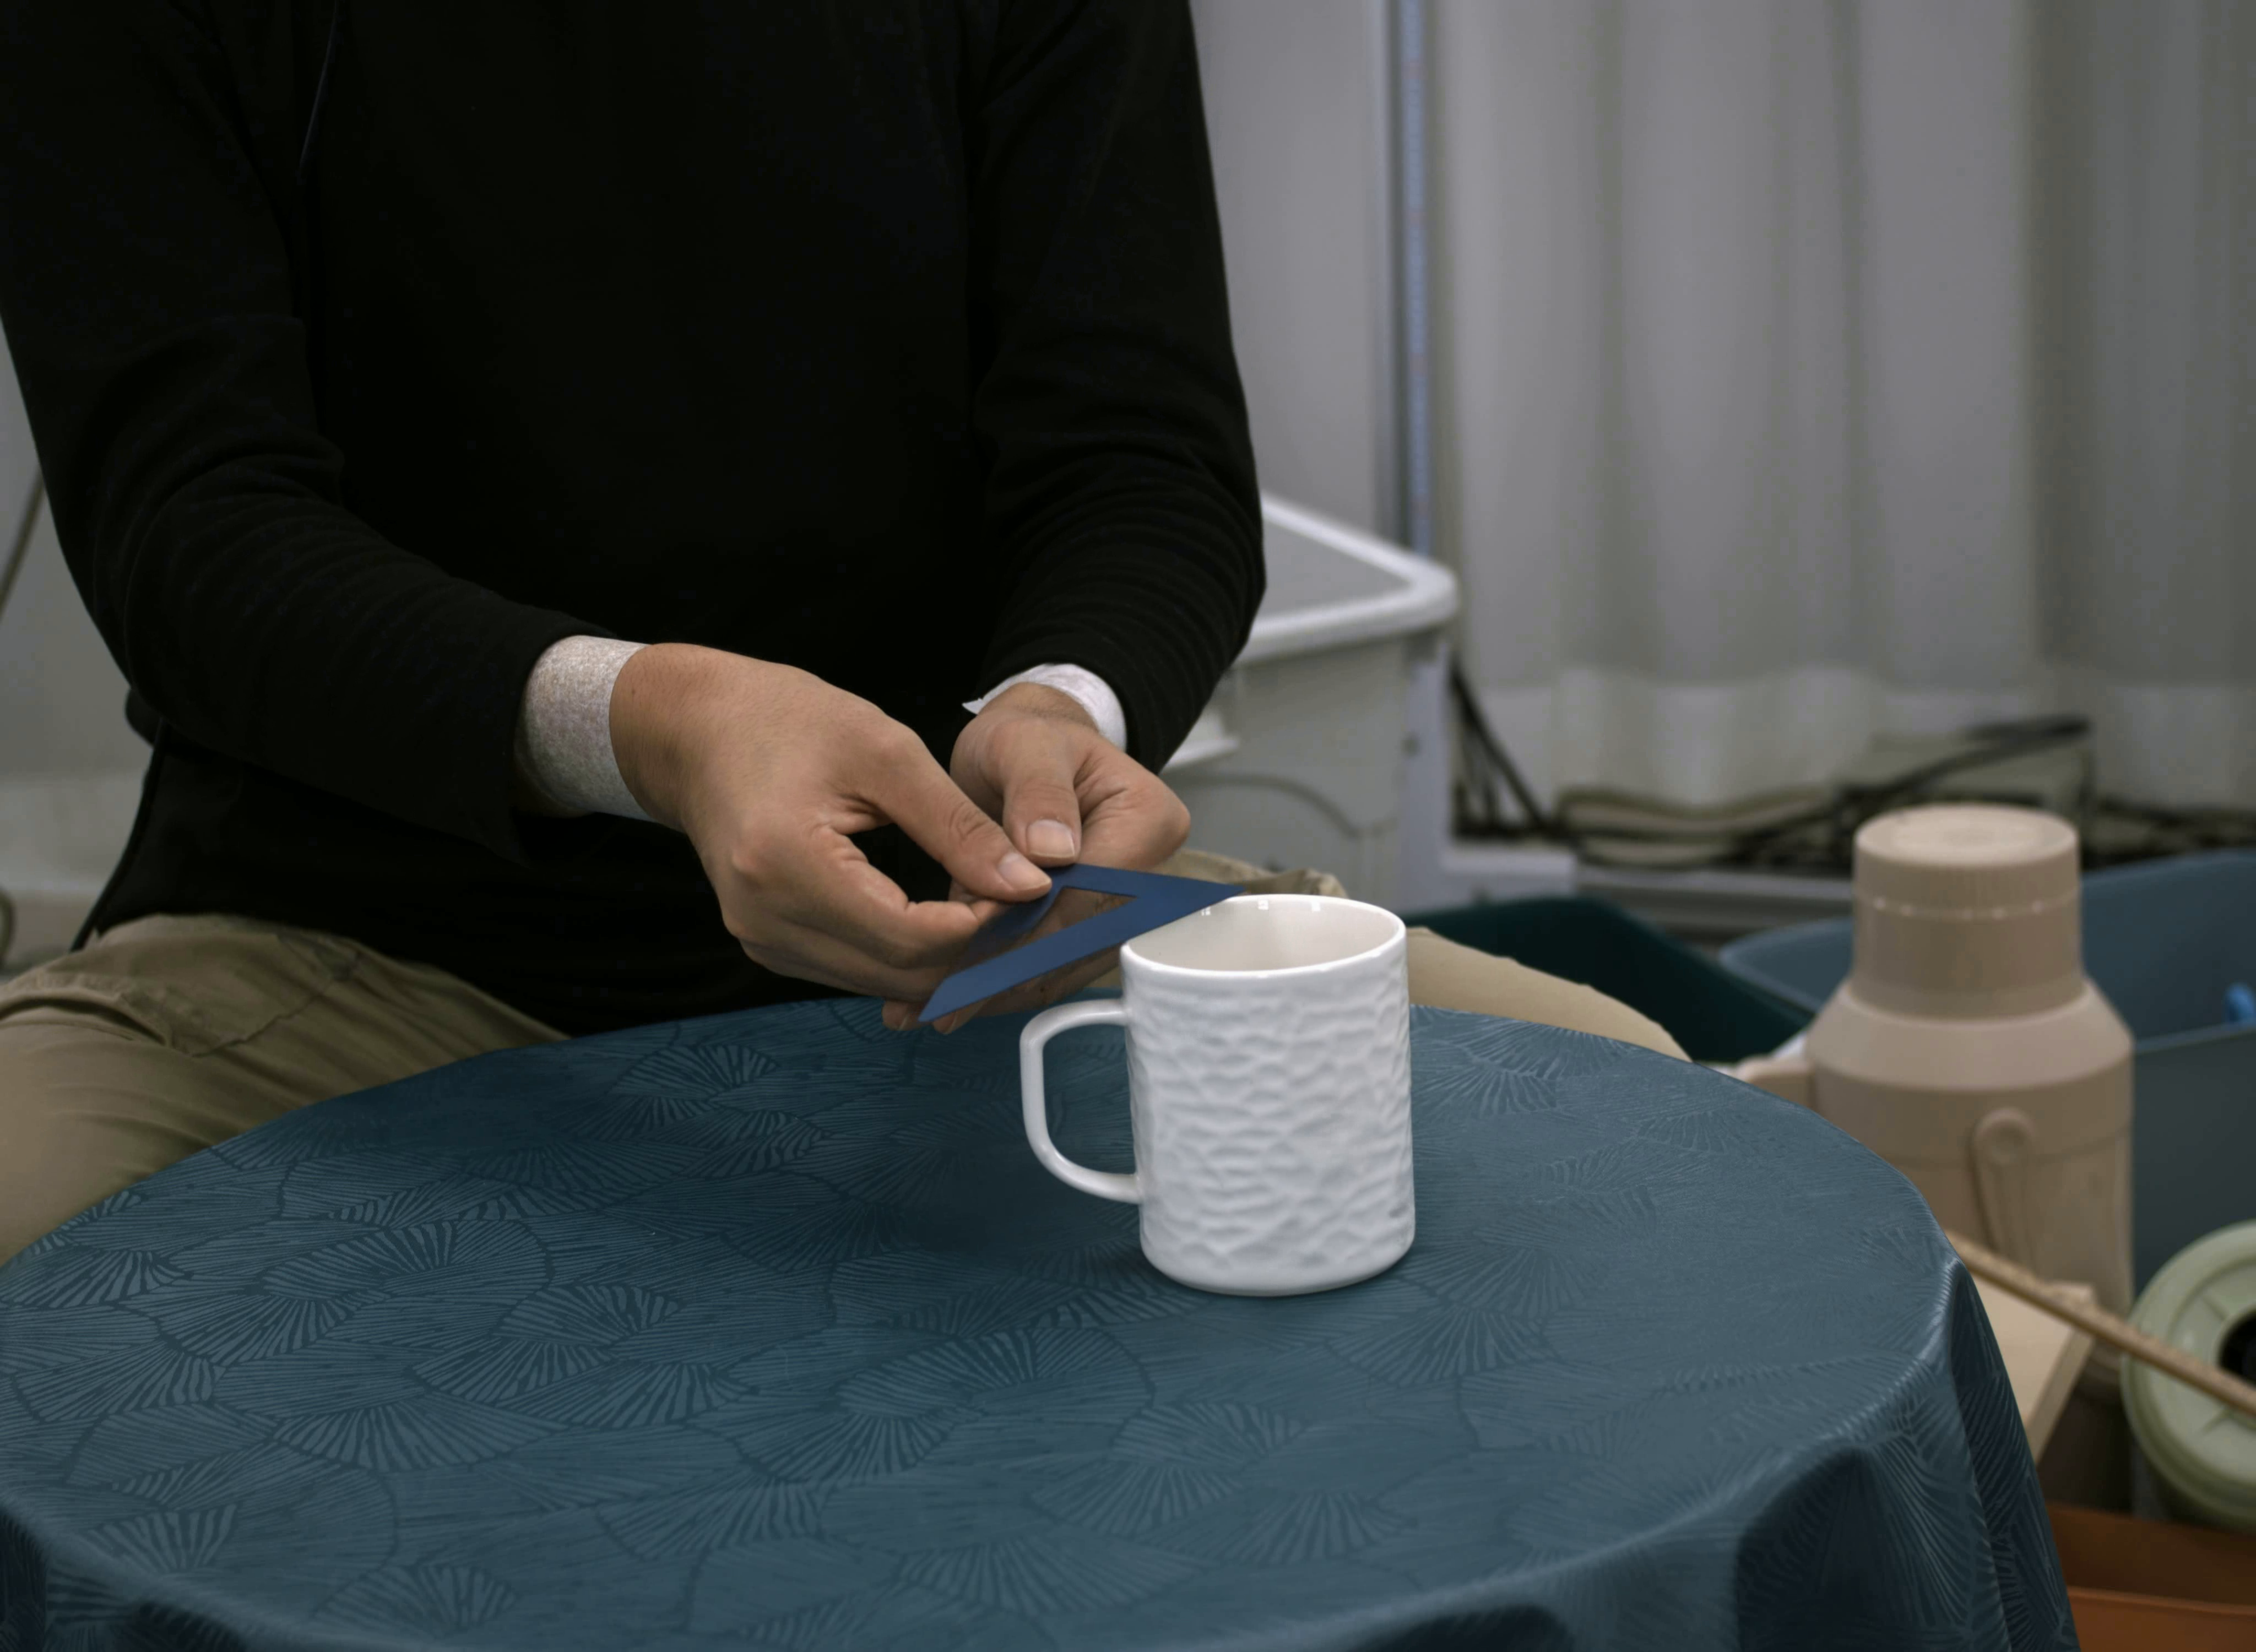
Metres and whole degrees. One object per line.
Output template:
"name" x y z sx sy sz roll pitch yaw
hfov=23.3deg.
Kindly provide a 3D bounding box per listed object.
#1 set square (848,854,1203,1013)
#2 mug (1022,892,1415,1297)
"set square" -0.044 0.027 1.627 0.132 0.006 0.062 -19 33 -38
"mug" 0.027 0.081 1.635 0.118 0.101 0.085 -5 14 -9
